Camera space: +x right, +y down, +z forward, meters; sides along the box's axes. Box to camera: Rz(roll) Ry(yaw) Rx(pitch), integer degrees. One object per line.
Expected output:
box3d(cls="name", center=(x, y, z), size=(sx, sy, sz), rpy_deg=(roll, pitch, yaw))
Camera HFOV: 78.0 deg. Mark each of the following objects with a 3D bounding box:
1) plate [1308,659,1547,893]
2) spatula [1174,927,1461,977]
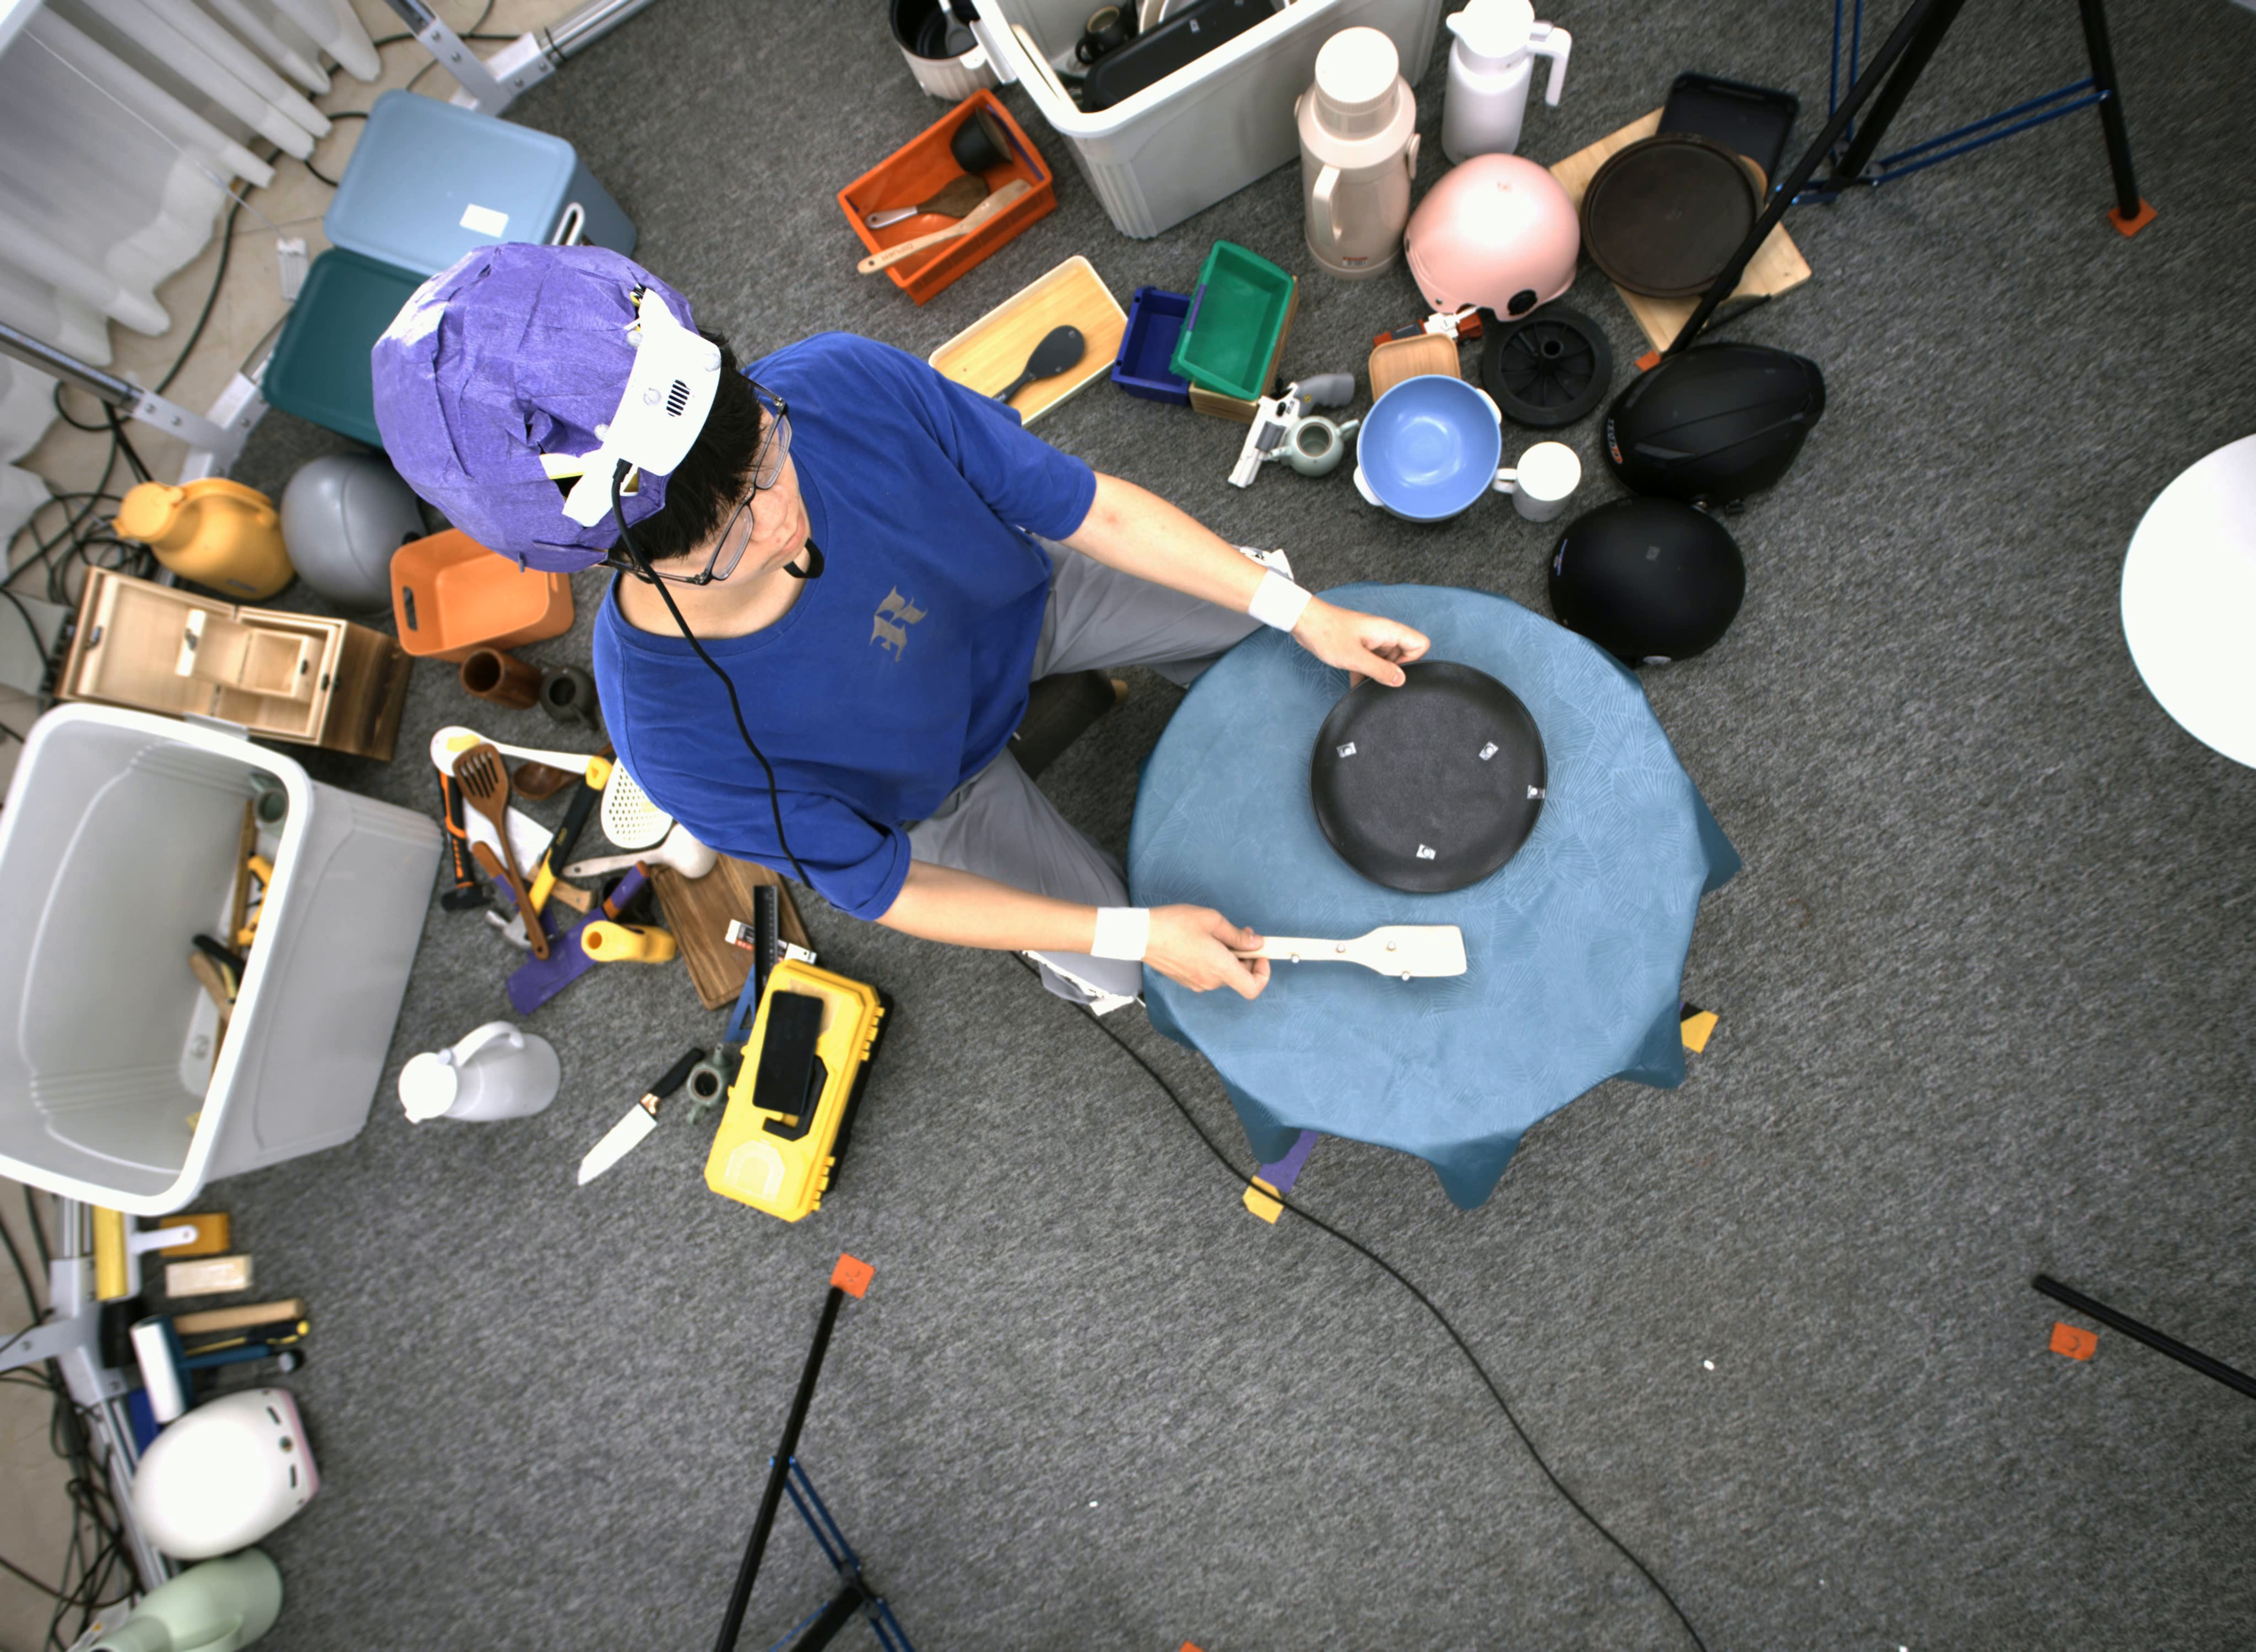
box3d(cls="plate", center=(0.308, -0.053, 1.419), size=(0.245, 0.023, 0.247), rpy_deg=(2, 104, 7))
box3d(cls="spatula", center=(0.194, 0.126, 1.426), size=(0.294, 0.070, 0.011), rpy_deg=(1, 128, 4))
